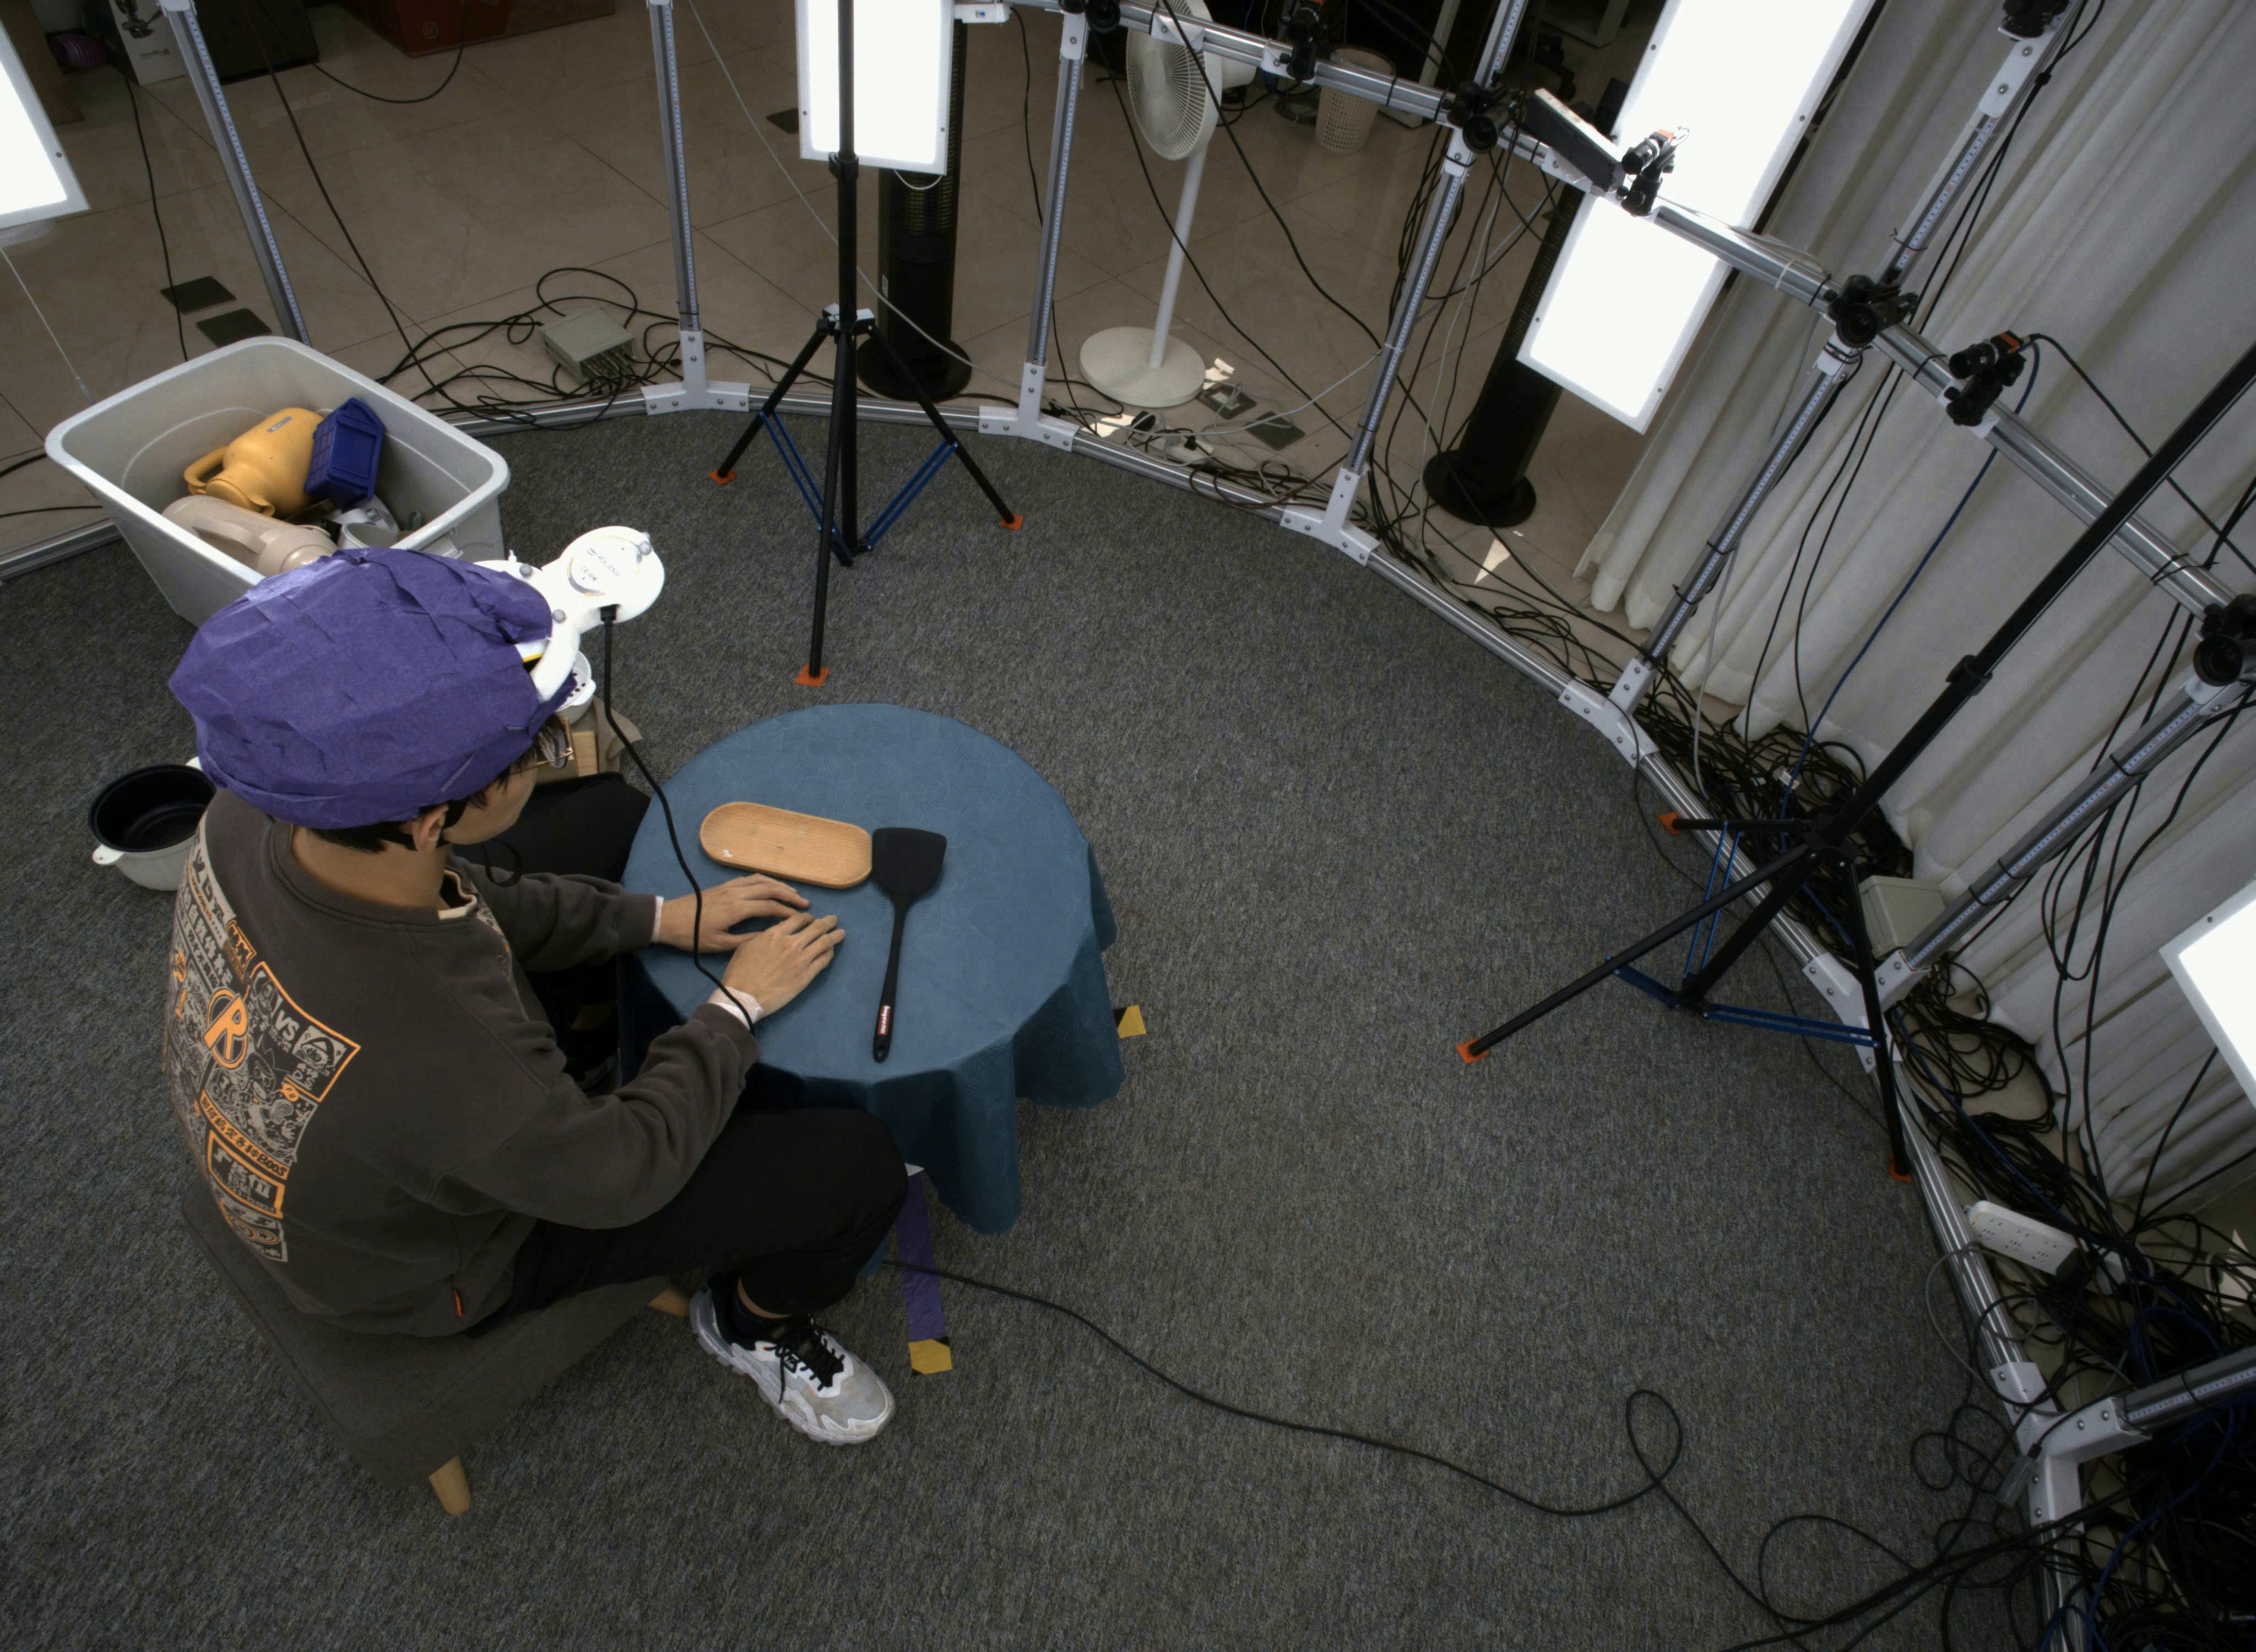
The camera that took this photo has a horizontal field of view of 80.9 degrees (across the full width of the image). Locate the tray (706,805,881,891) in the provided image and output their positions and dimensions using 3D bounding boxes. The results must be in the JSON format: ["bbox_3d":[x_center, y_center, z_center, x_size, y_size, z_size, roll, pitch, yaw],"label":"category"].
[{"bbox_3d":[-0.440,0.028,1.704,0.230,0.021,0.100,13,53,-6],"label":"tray"}]

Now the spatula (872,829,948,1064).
[{"bbox_3d":[-0.291,0.144,1.642,0.099,0.041,0.320,6,53,-7],"label":"spatula"}]
